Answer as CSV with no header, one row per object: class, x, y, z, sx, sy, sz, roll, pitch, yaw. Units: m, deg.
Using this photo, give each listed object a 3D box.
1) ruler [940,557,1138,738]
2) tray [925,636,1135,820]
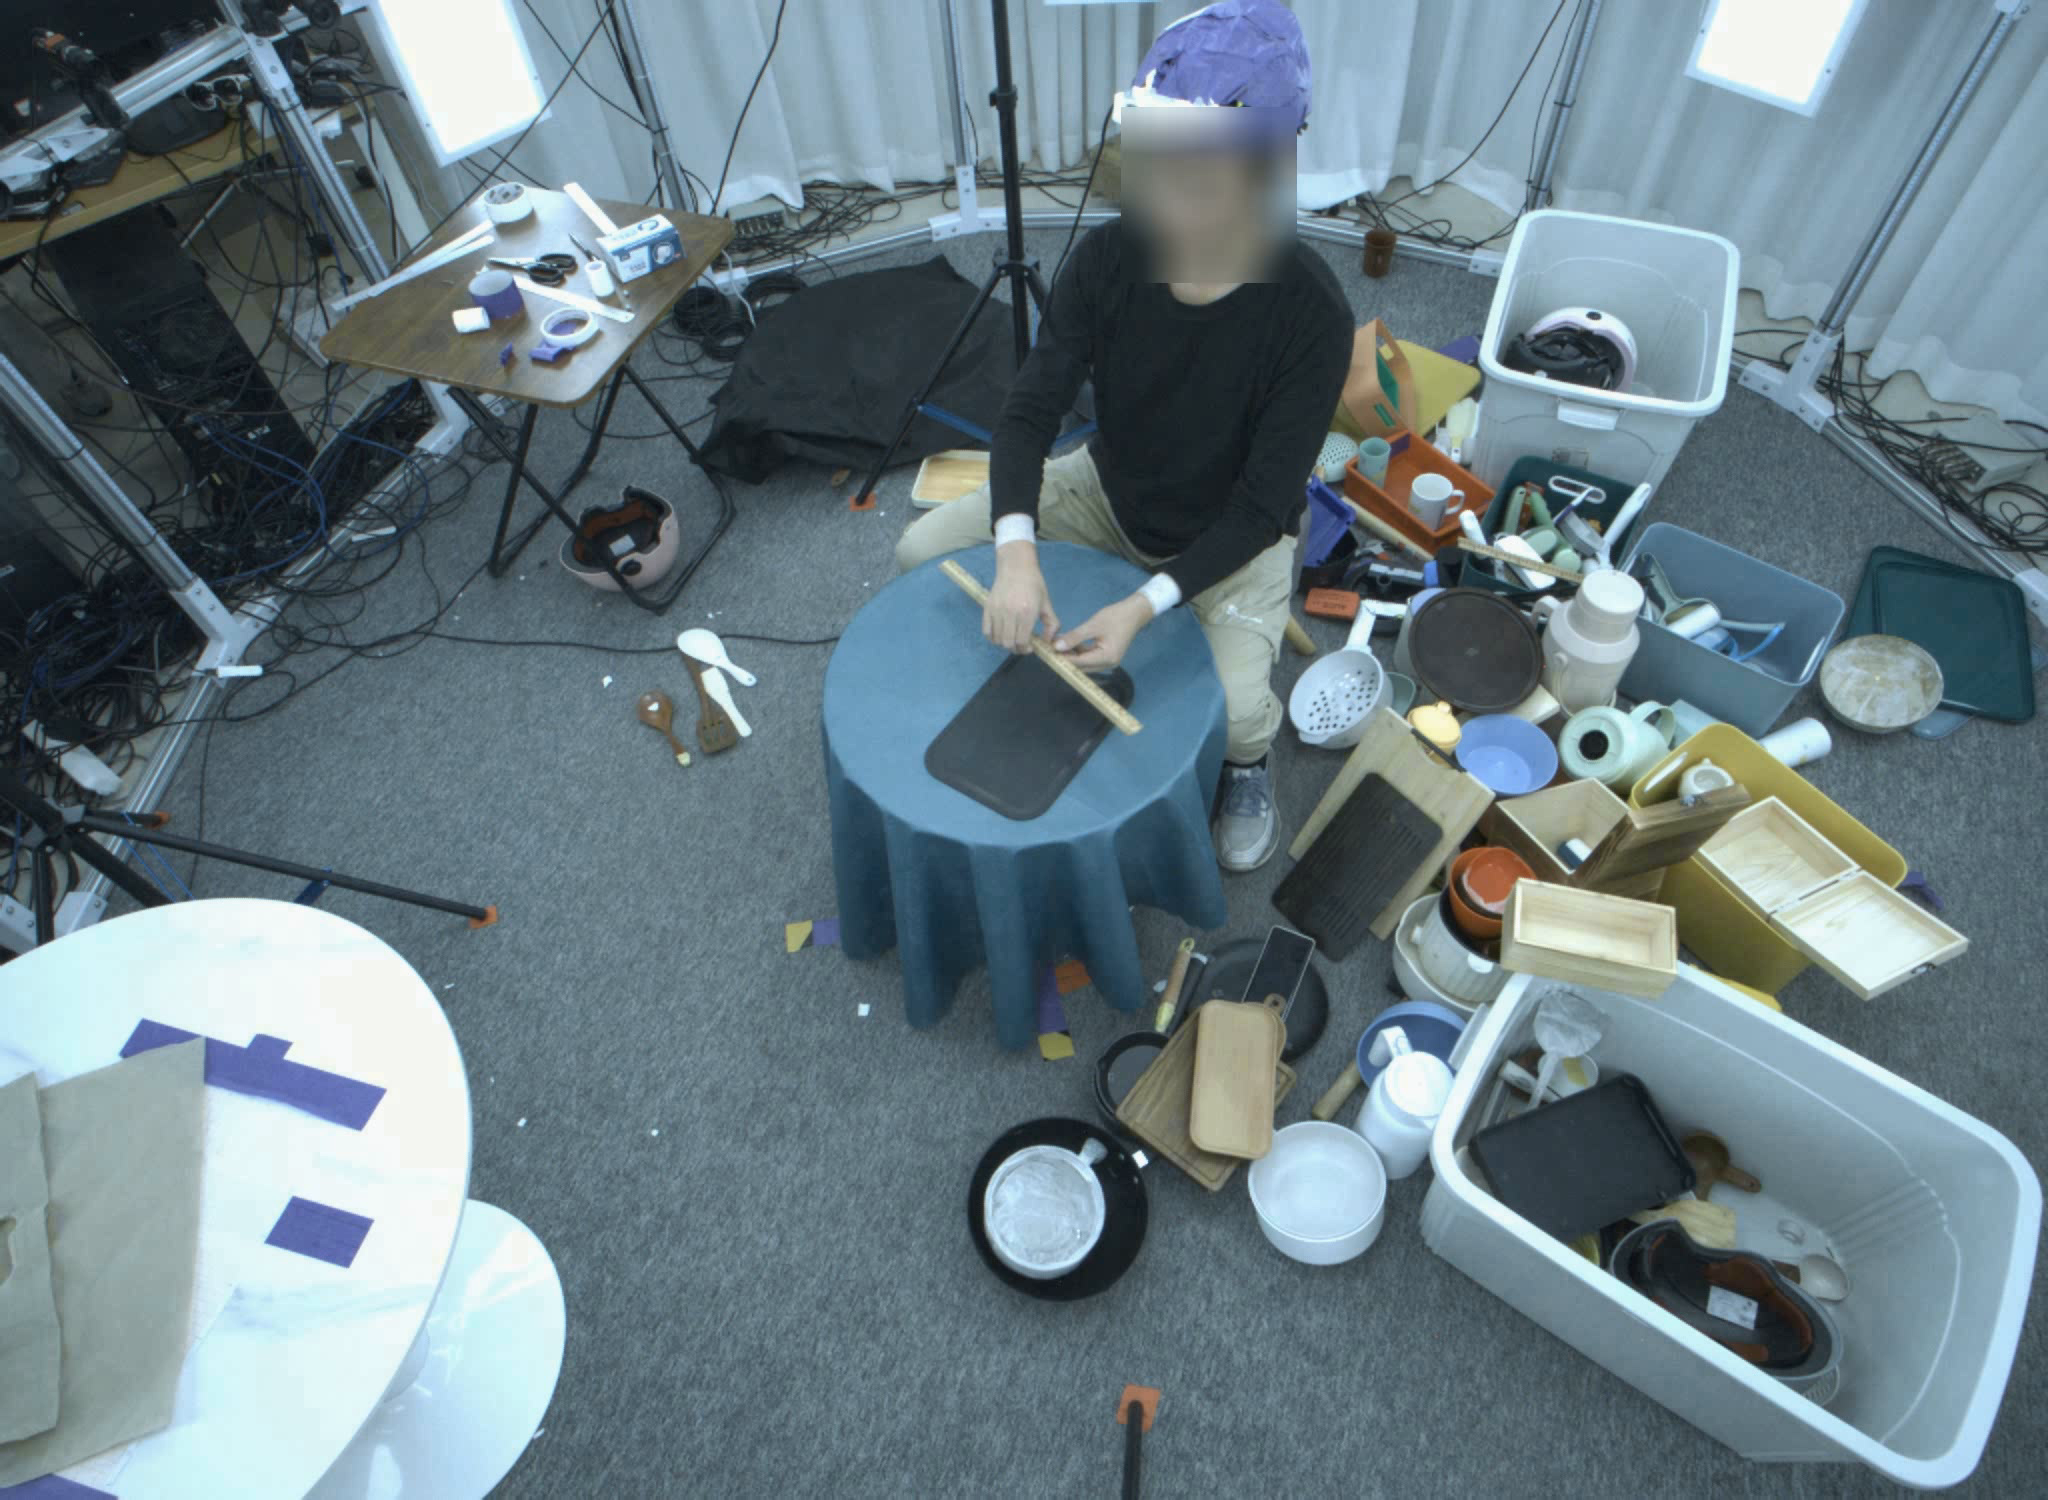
ruler,0.010,-0.162,1.789,0.027,0.006,0.489,-28,50,-20
tray,0.015,-0.046,1.816,0.208,0.010,0.327,29,61,20
